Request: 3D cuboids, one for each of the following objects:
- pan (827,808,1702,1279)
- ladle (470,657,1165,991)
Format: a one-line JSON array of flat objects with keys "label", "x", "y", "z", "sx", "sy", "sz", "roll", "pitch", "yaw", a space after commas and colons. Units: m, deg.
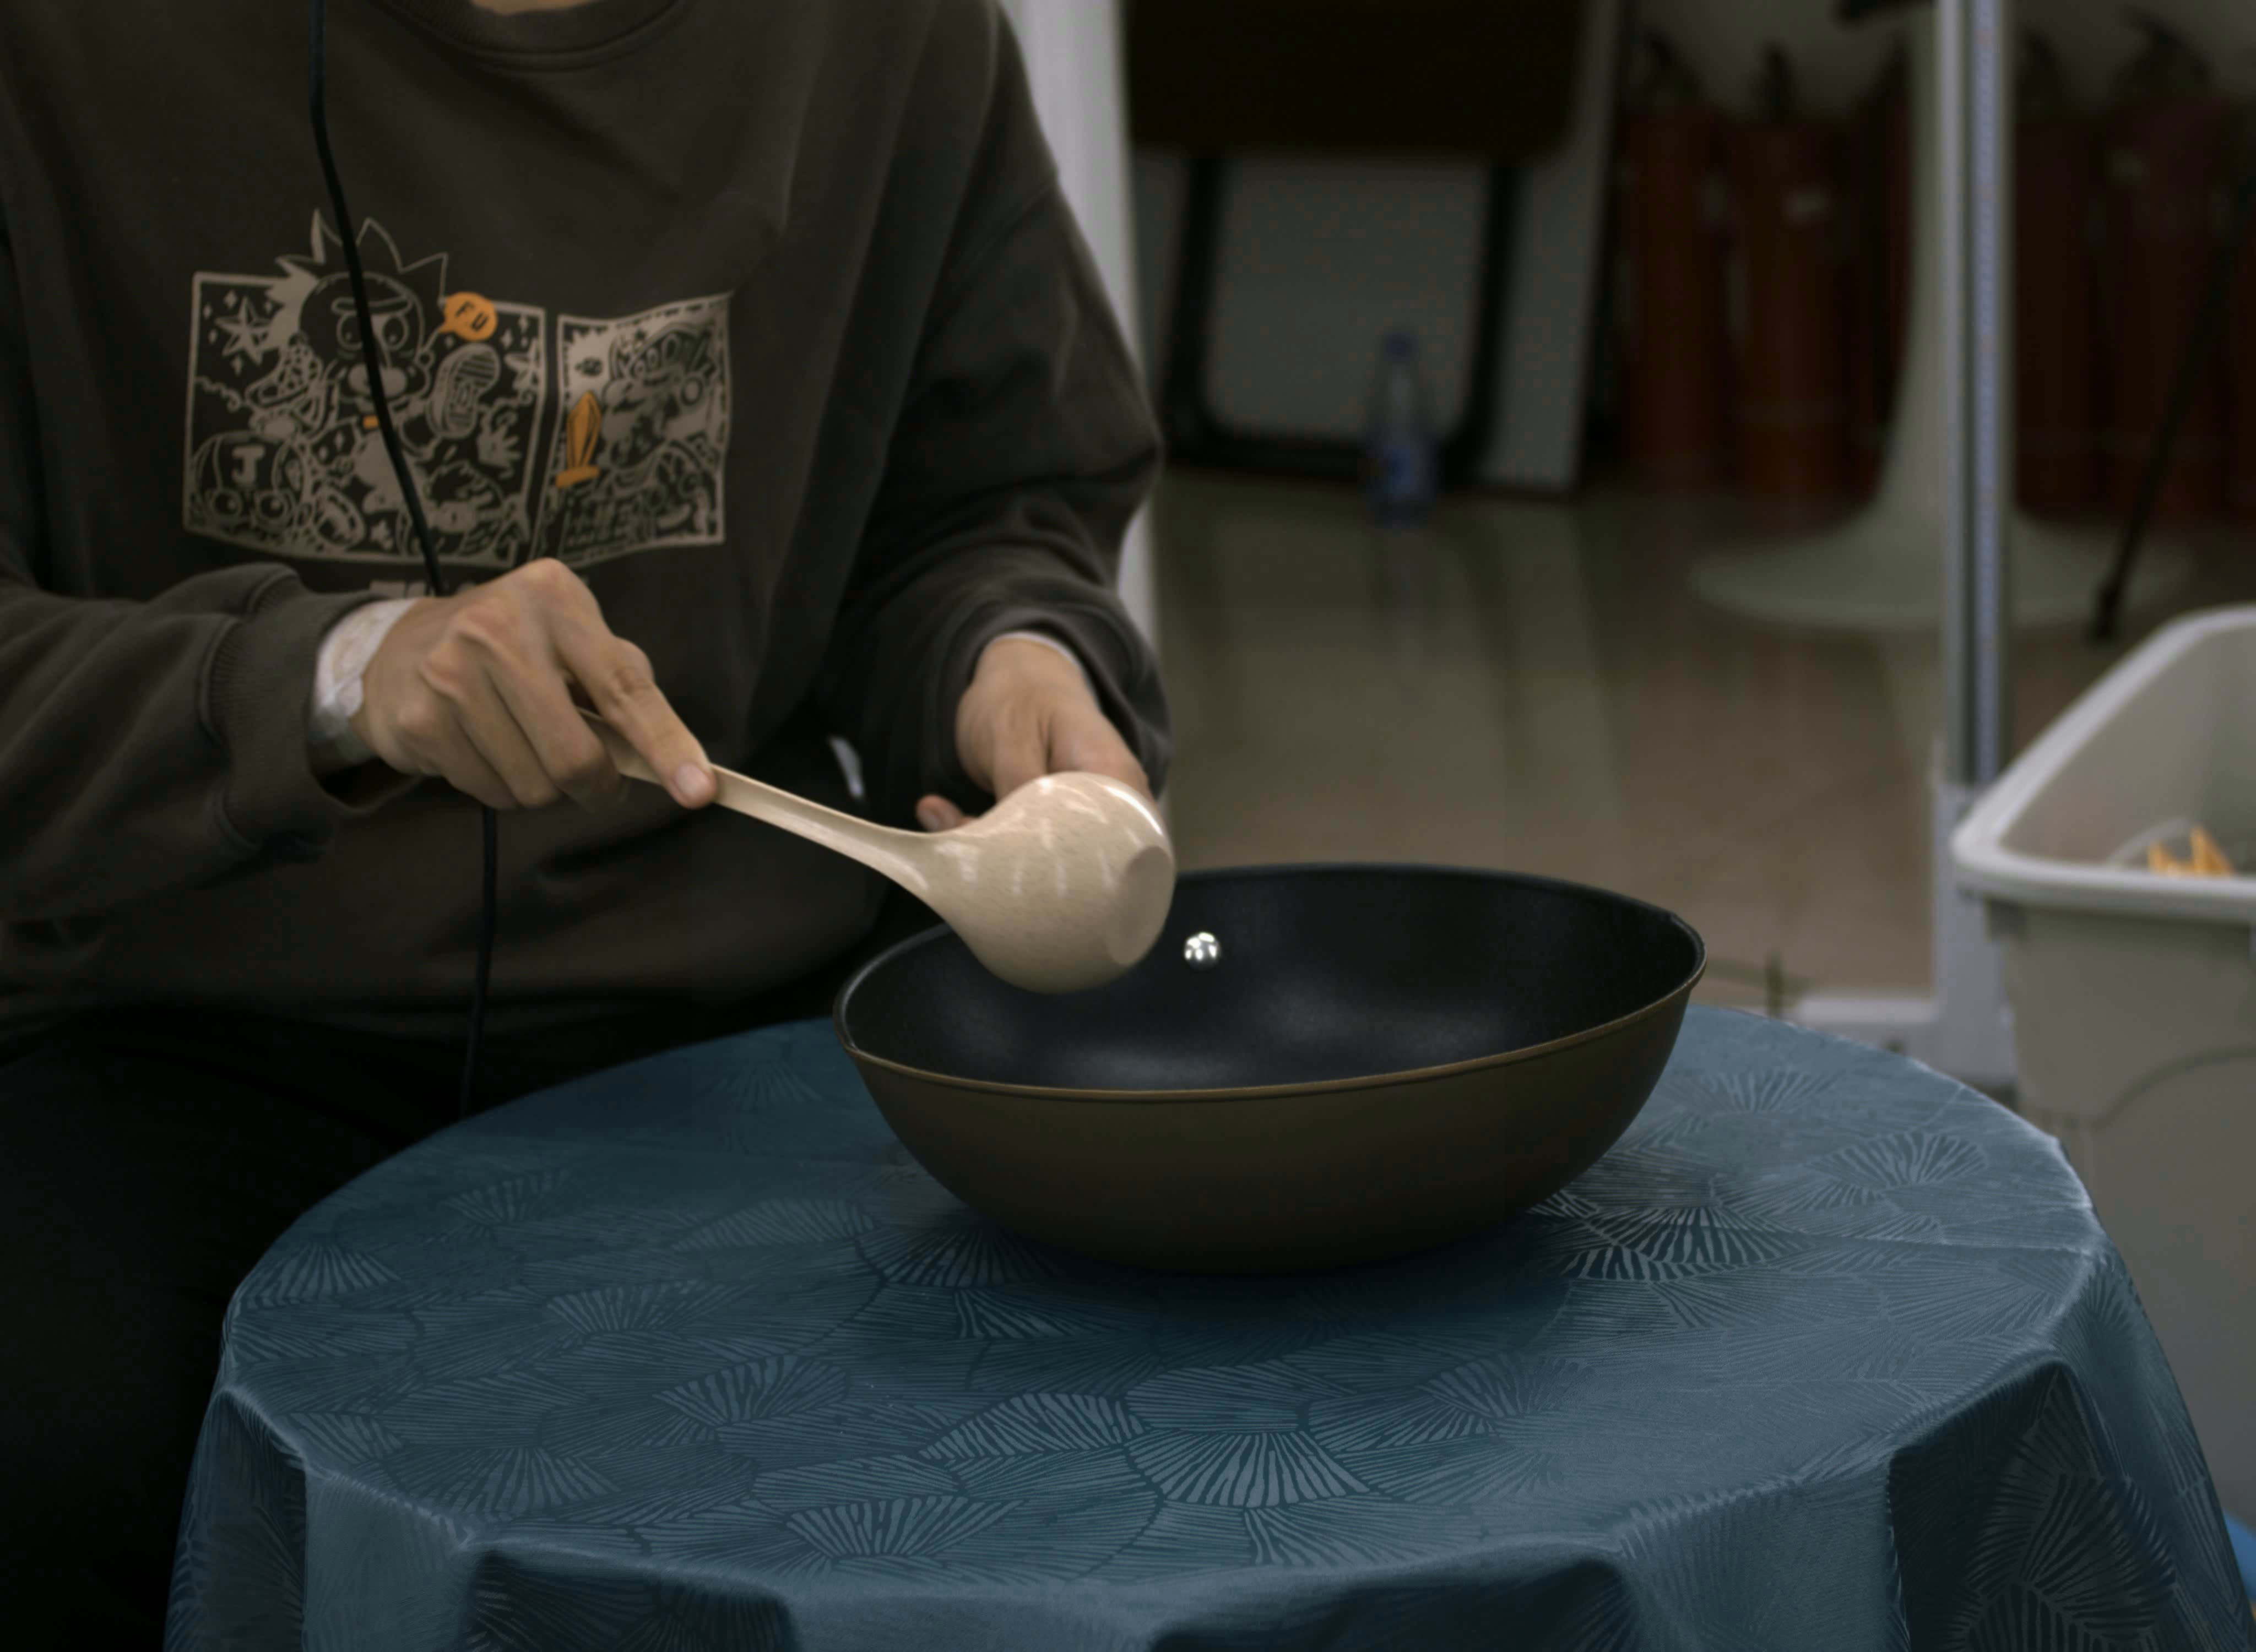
[{"label": "pan", "x": 0.017, "y": 0.069, "z": 1.817, "sx": 0.282, "sy": 0.088, "sz": 0.467, "roll": -8, "pitch": 12, "yaw": -17}, {"label": "ladle", "x": -0.099, "y": -0.015, "z": 1.749, "sx": 0.256, "sy": 0.073, "sz": 0.071, "roll": 23, "pitch": 24, "yaw": 34}]
